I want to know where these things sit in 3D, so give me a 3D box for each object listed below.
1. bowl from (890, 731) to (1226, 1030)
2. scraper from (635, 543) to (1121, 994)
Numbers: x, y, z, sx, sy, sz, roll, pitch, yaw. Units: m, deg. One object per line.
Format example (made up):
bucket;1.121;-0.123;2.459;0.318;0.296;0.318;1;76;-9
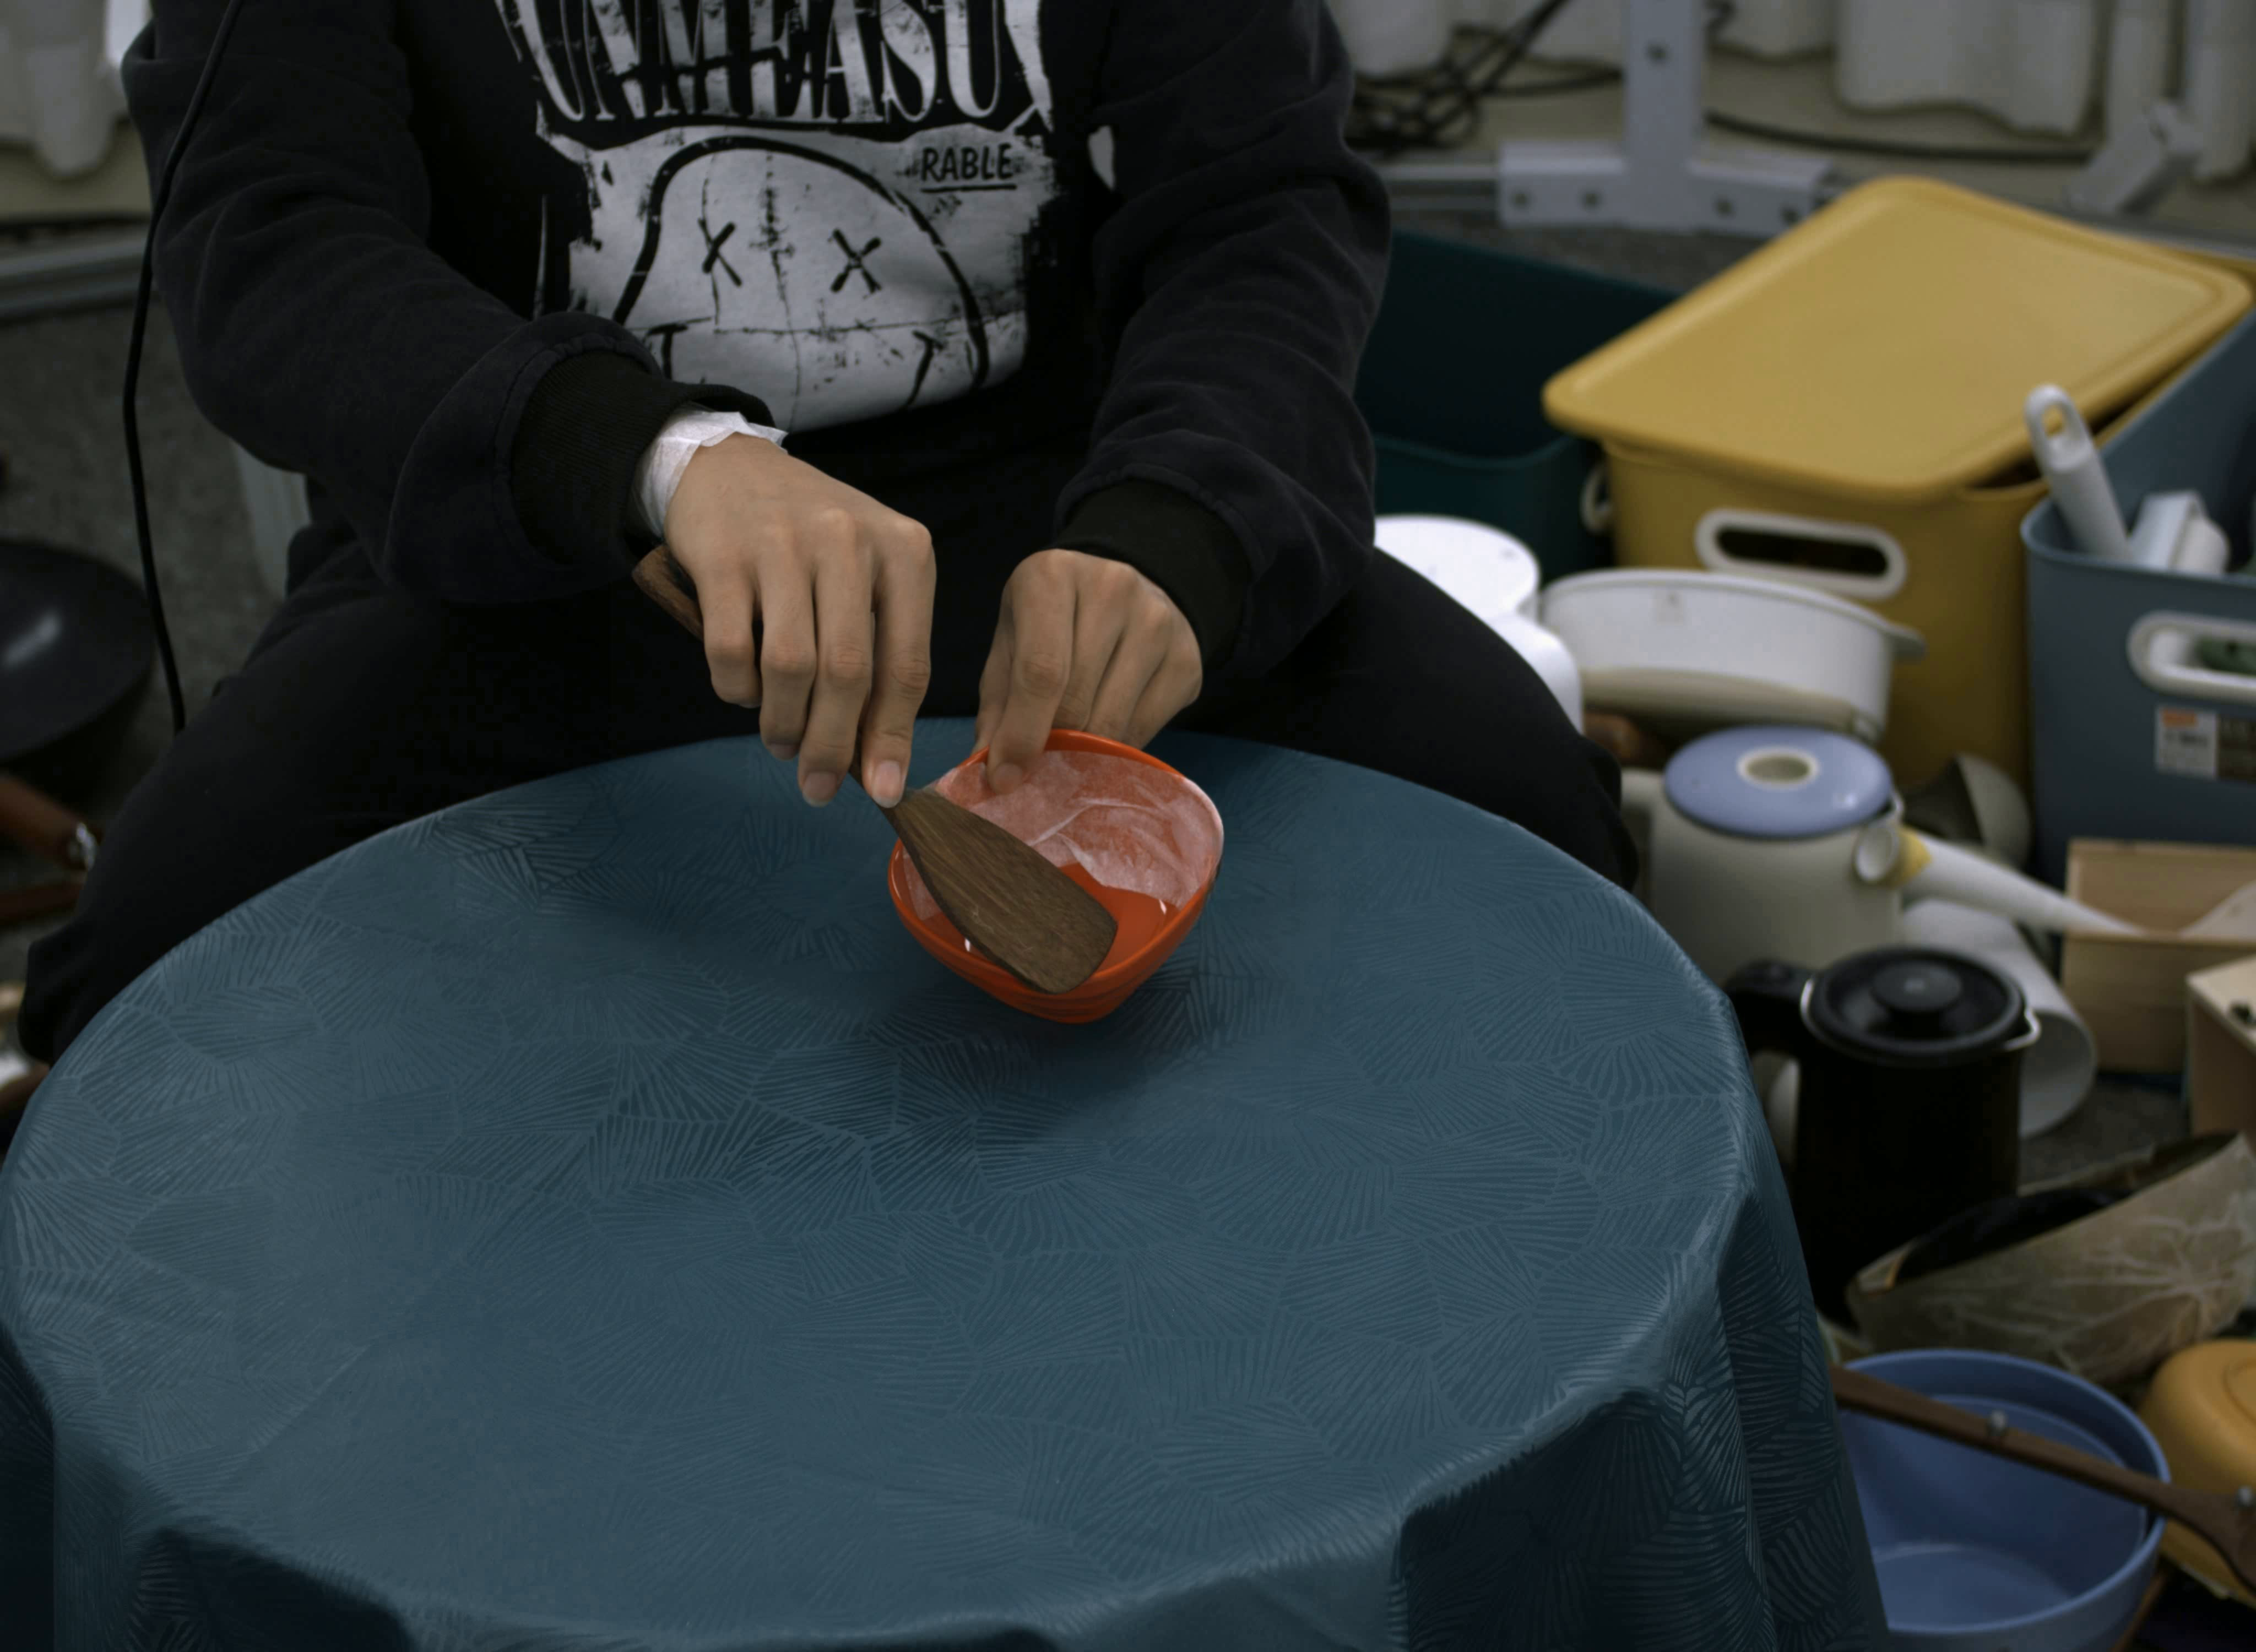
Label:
bowl;-0.023;0.026;1.971;0.118;0.050;0.121;-2;49;3
scraper;-0.088;-0.021;1.923;0.211;0.010;0.077;43;27;1
